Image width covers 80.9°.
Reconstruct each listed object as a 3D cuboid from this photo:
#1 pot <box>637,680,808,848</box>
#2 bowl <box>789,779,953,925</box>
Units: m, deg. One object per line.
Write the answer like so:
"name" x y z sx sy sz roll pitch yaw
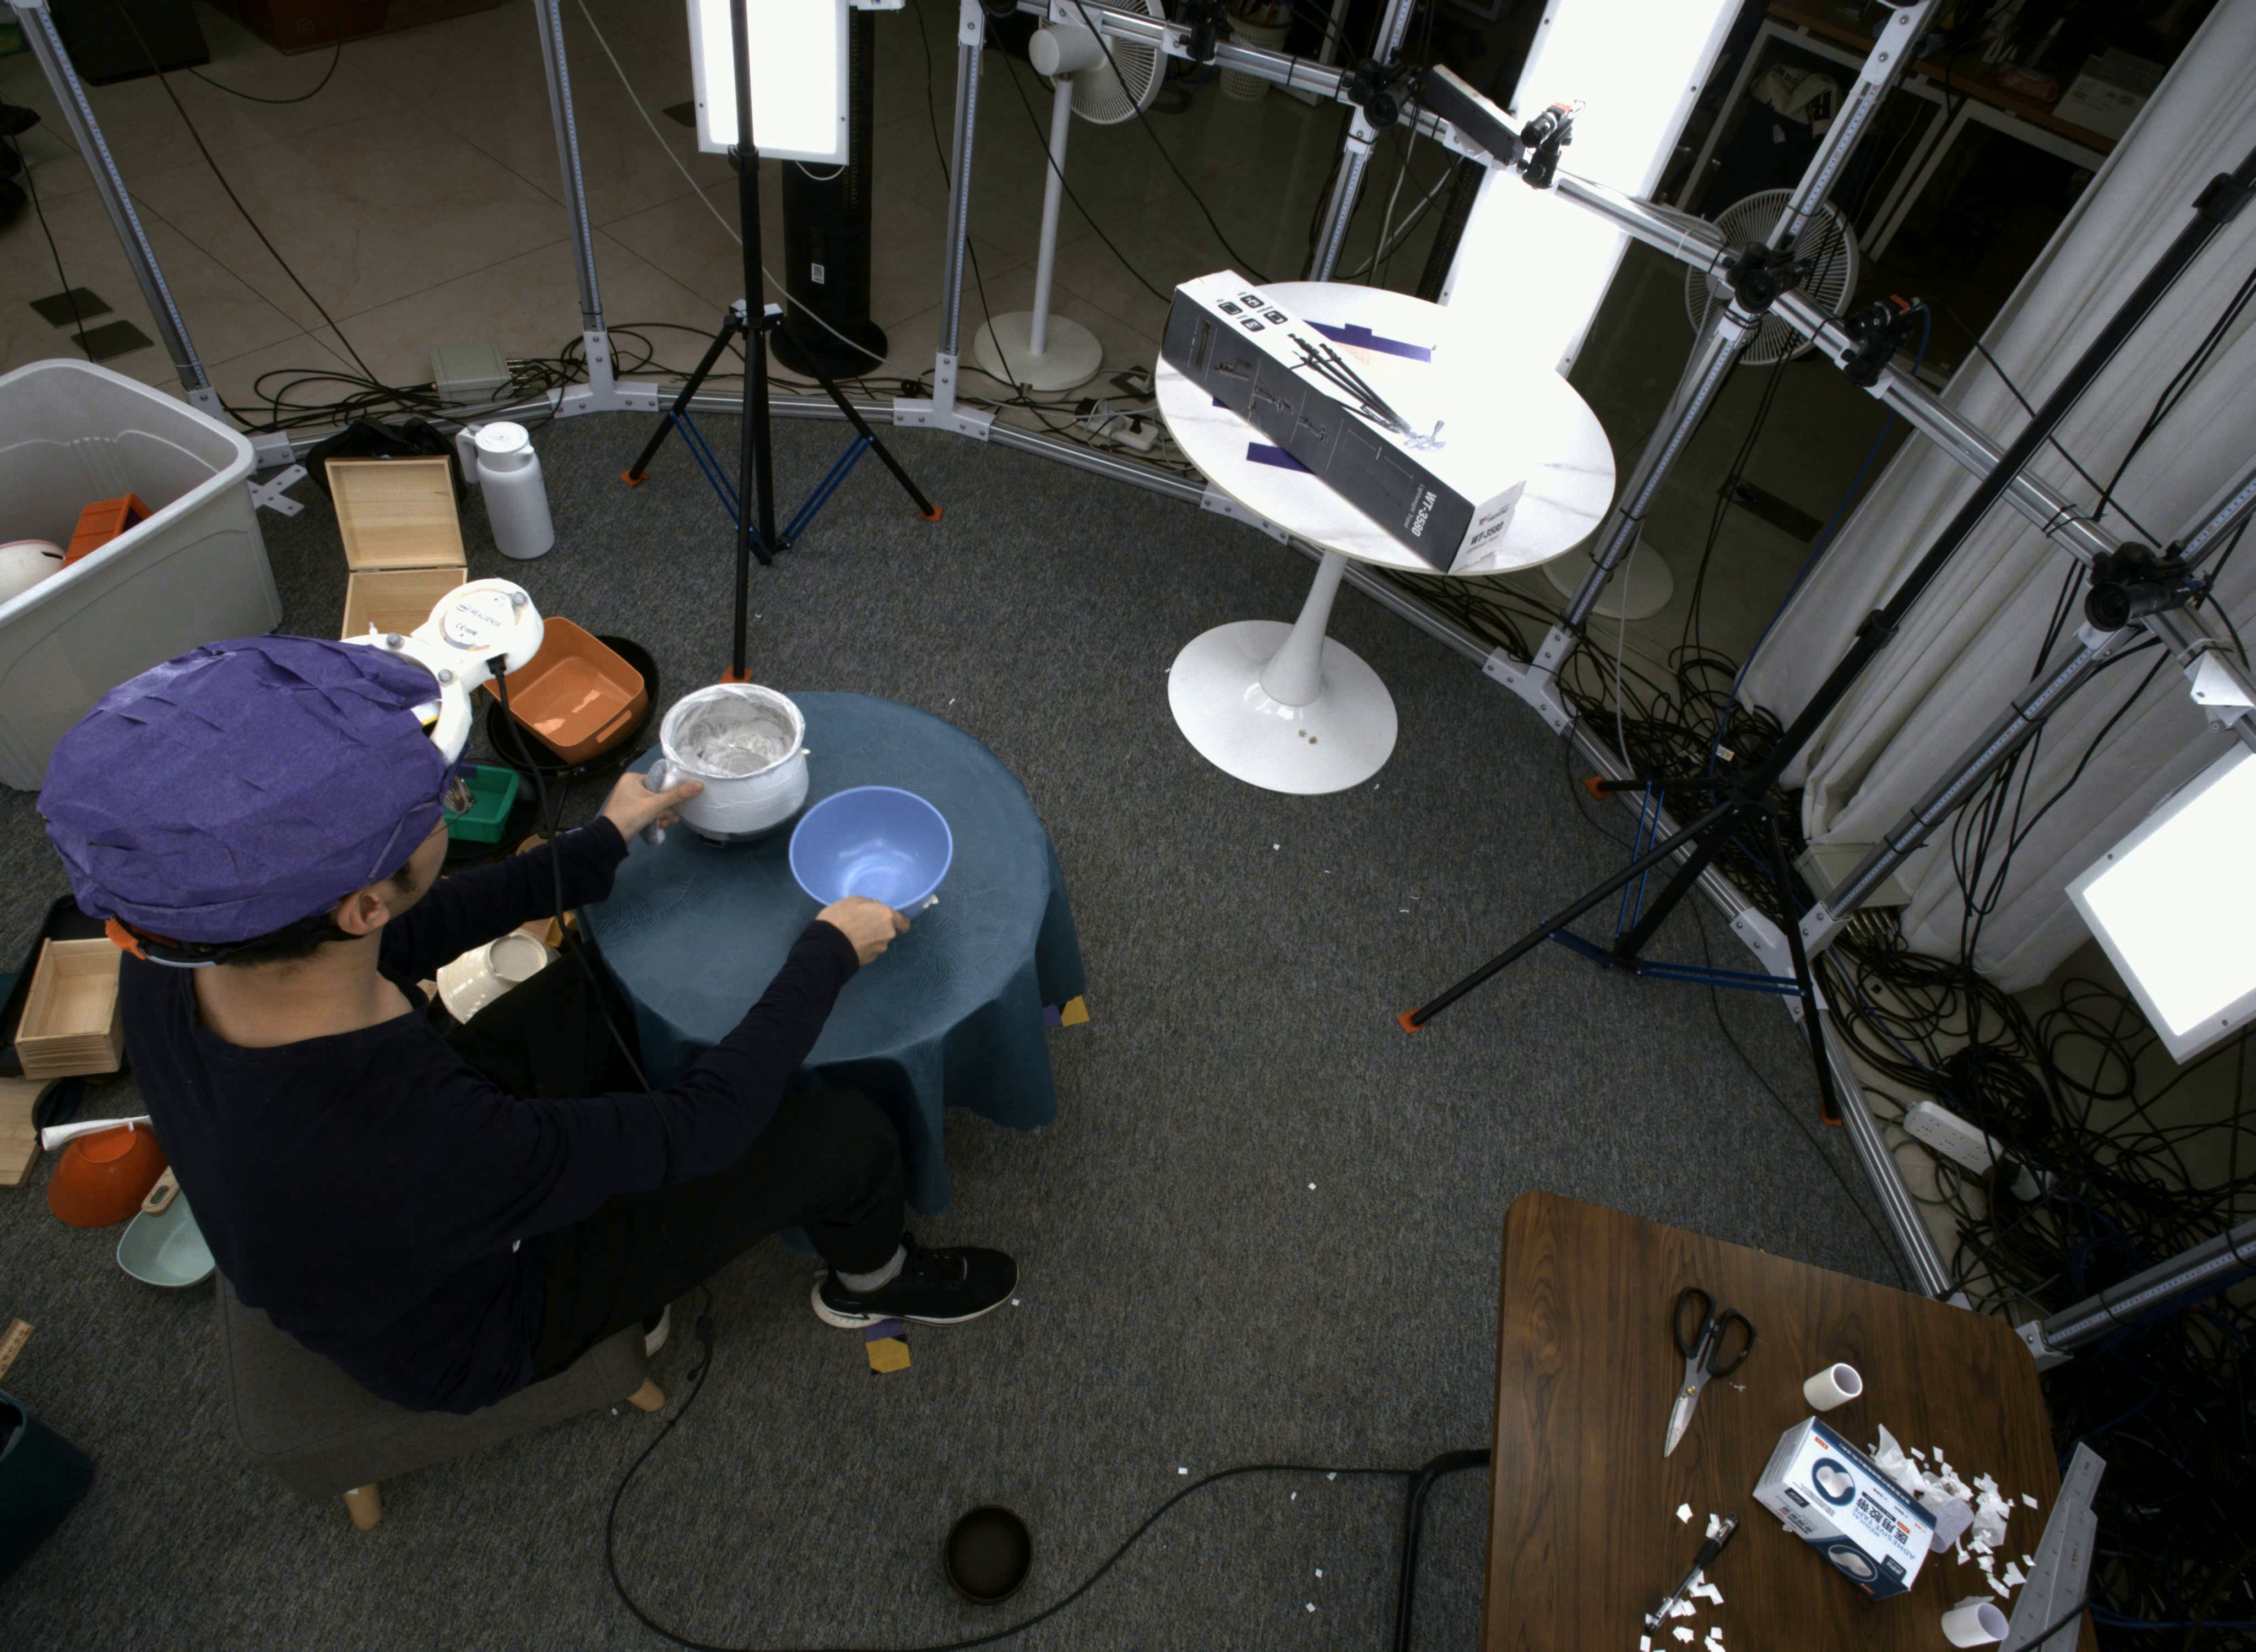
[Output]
"pot" -0.522 -0.067 1.641 0.173 0.140 0.234 36 50 24
"bowl" -0.316 0.047 1.602 0.196 0.097 0.193 7 51 -8
